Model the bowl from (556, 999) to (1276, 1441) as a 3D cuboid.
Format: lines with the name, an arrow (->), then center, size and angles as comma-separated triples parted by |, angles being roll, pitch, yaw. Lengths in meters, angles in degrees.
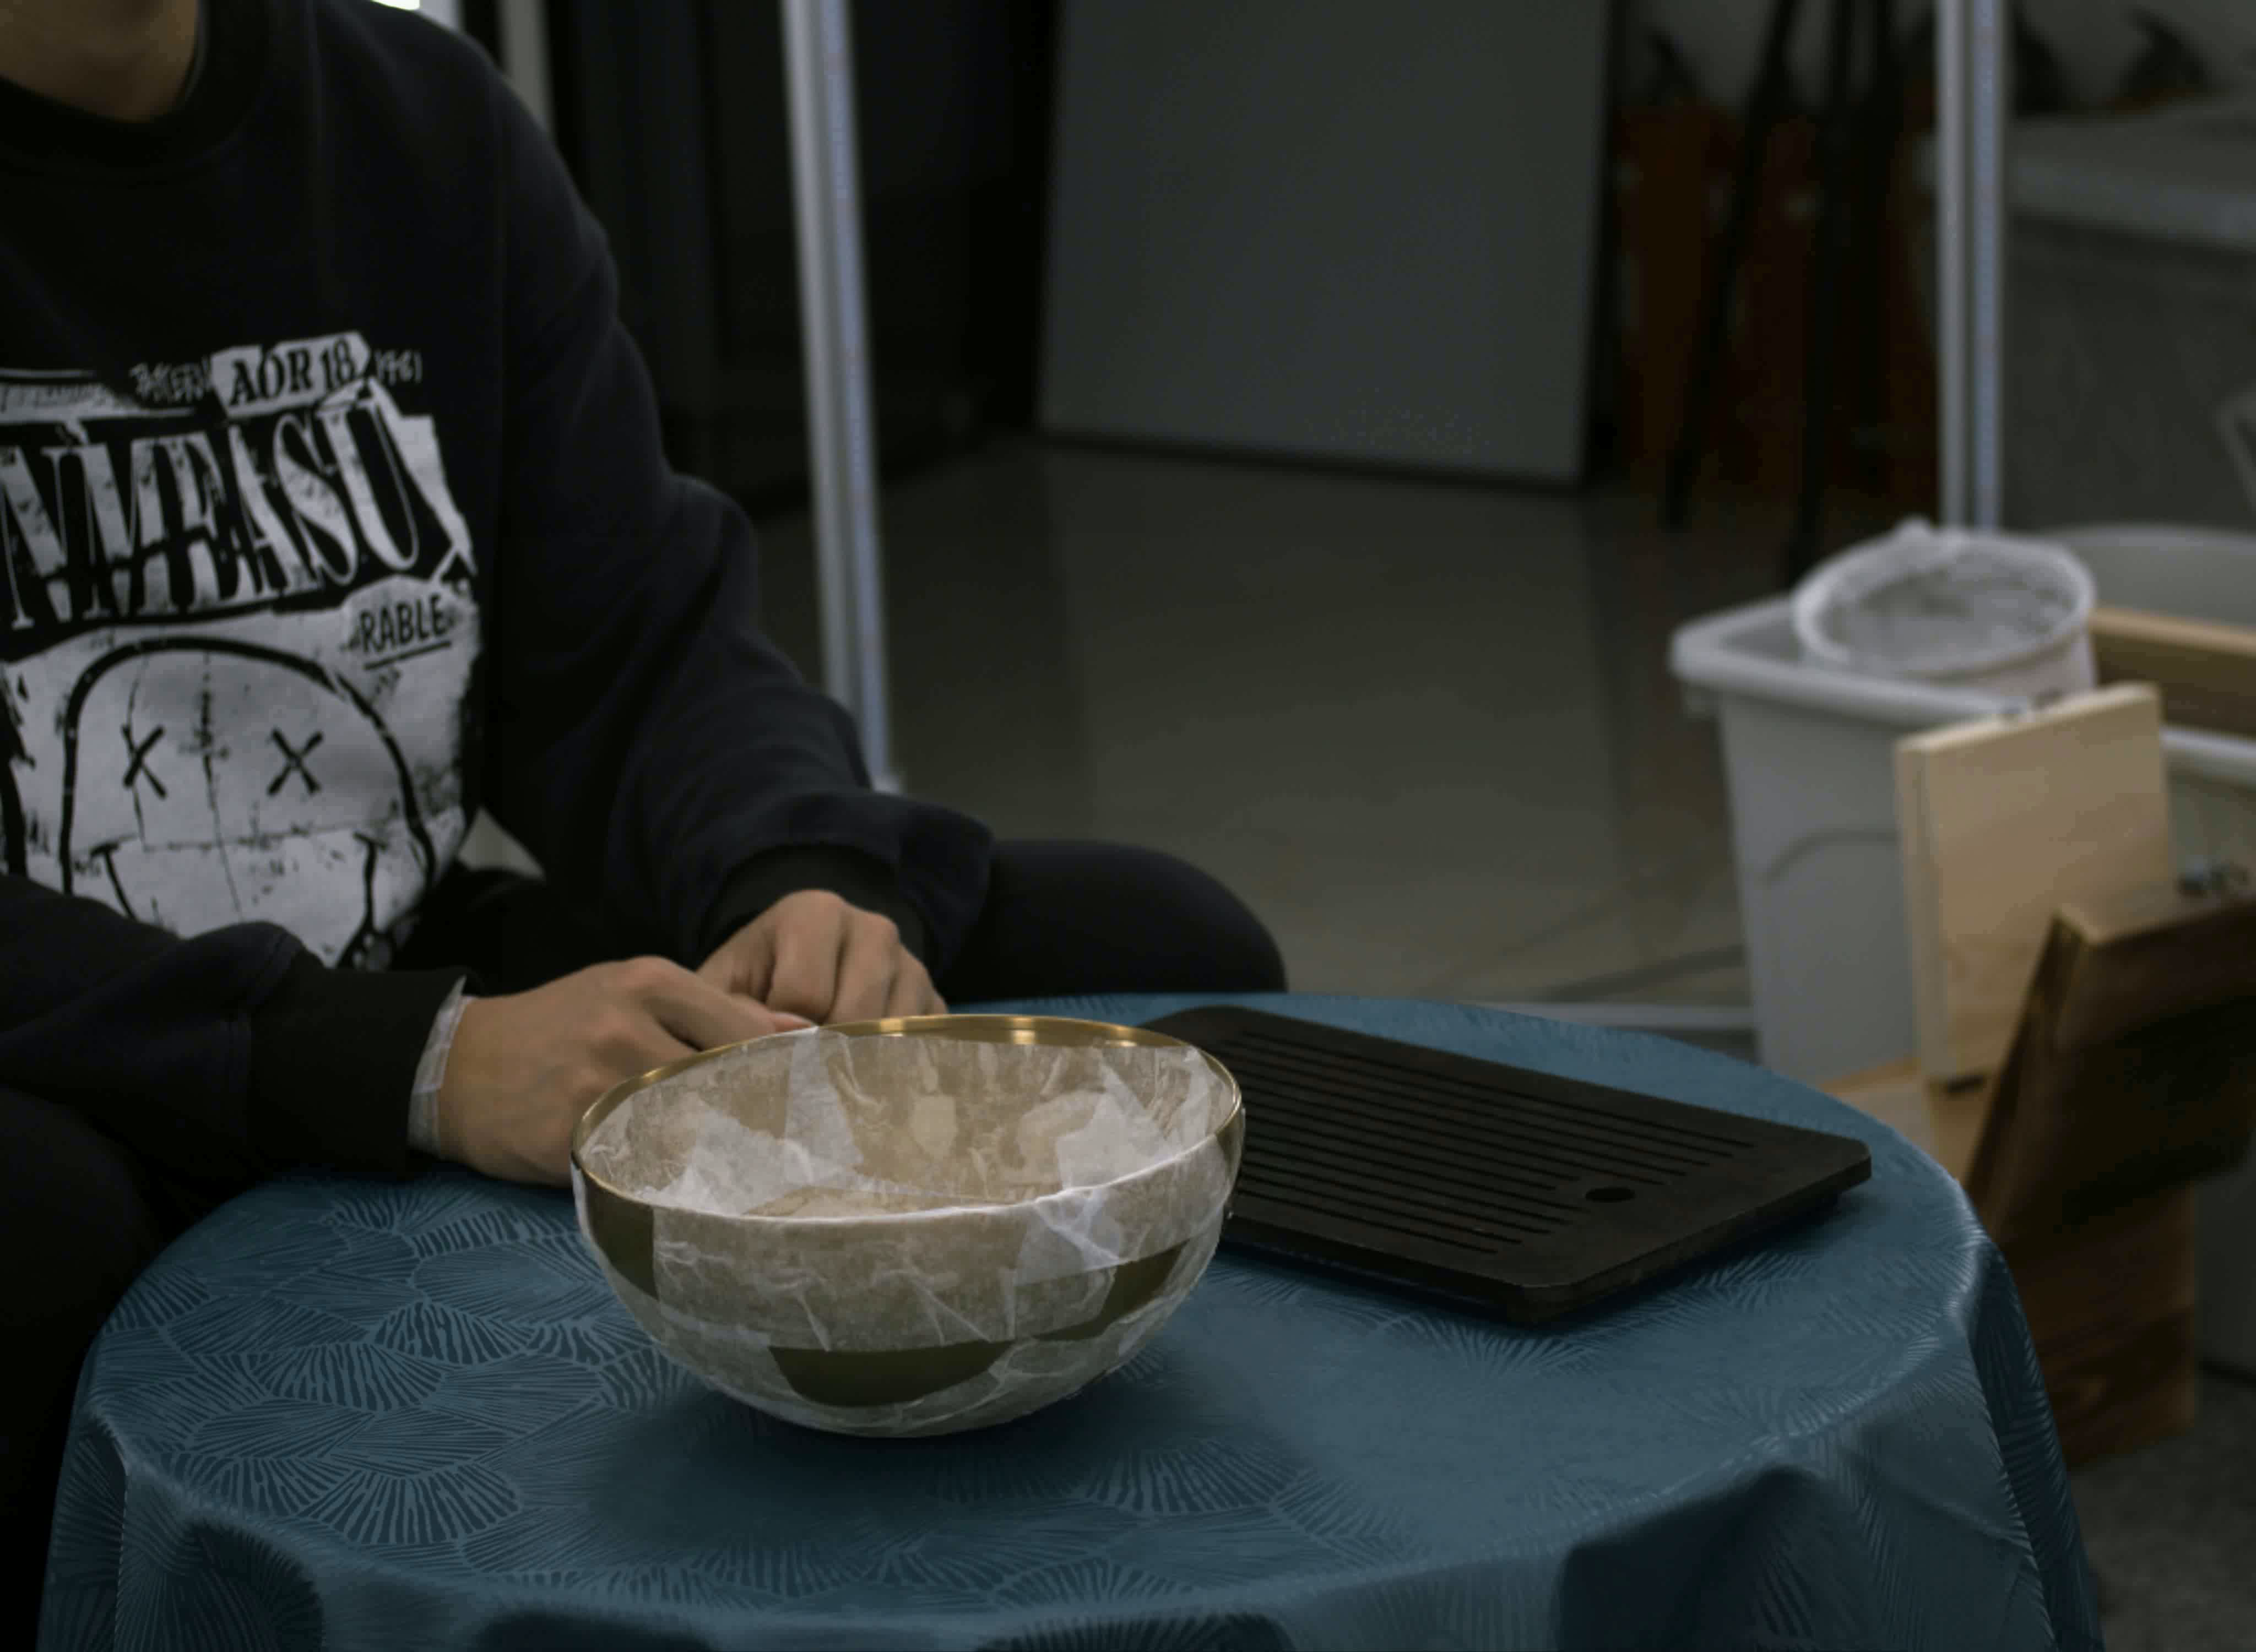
bowl -> -0.060, 0.124, 1.585 | 0.212, 0.095, 0.215 | -5, 14, 0

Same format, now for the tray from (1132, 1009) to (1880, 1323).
tray -> 0.080, 0.108, 1.764 | 0.166, 0.019, 0.309 | -17, 18, -42
